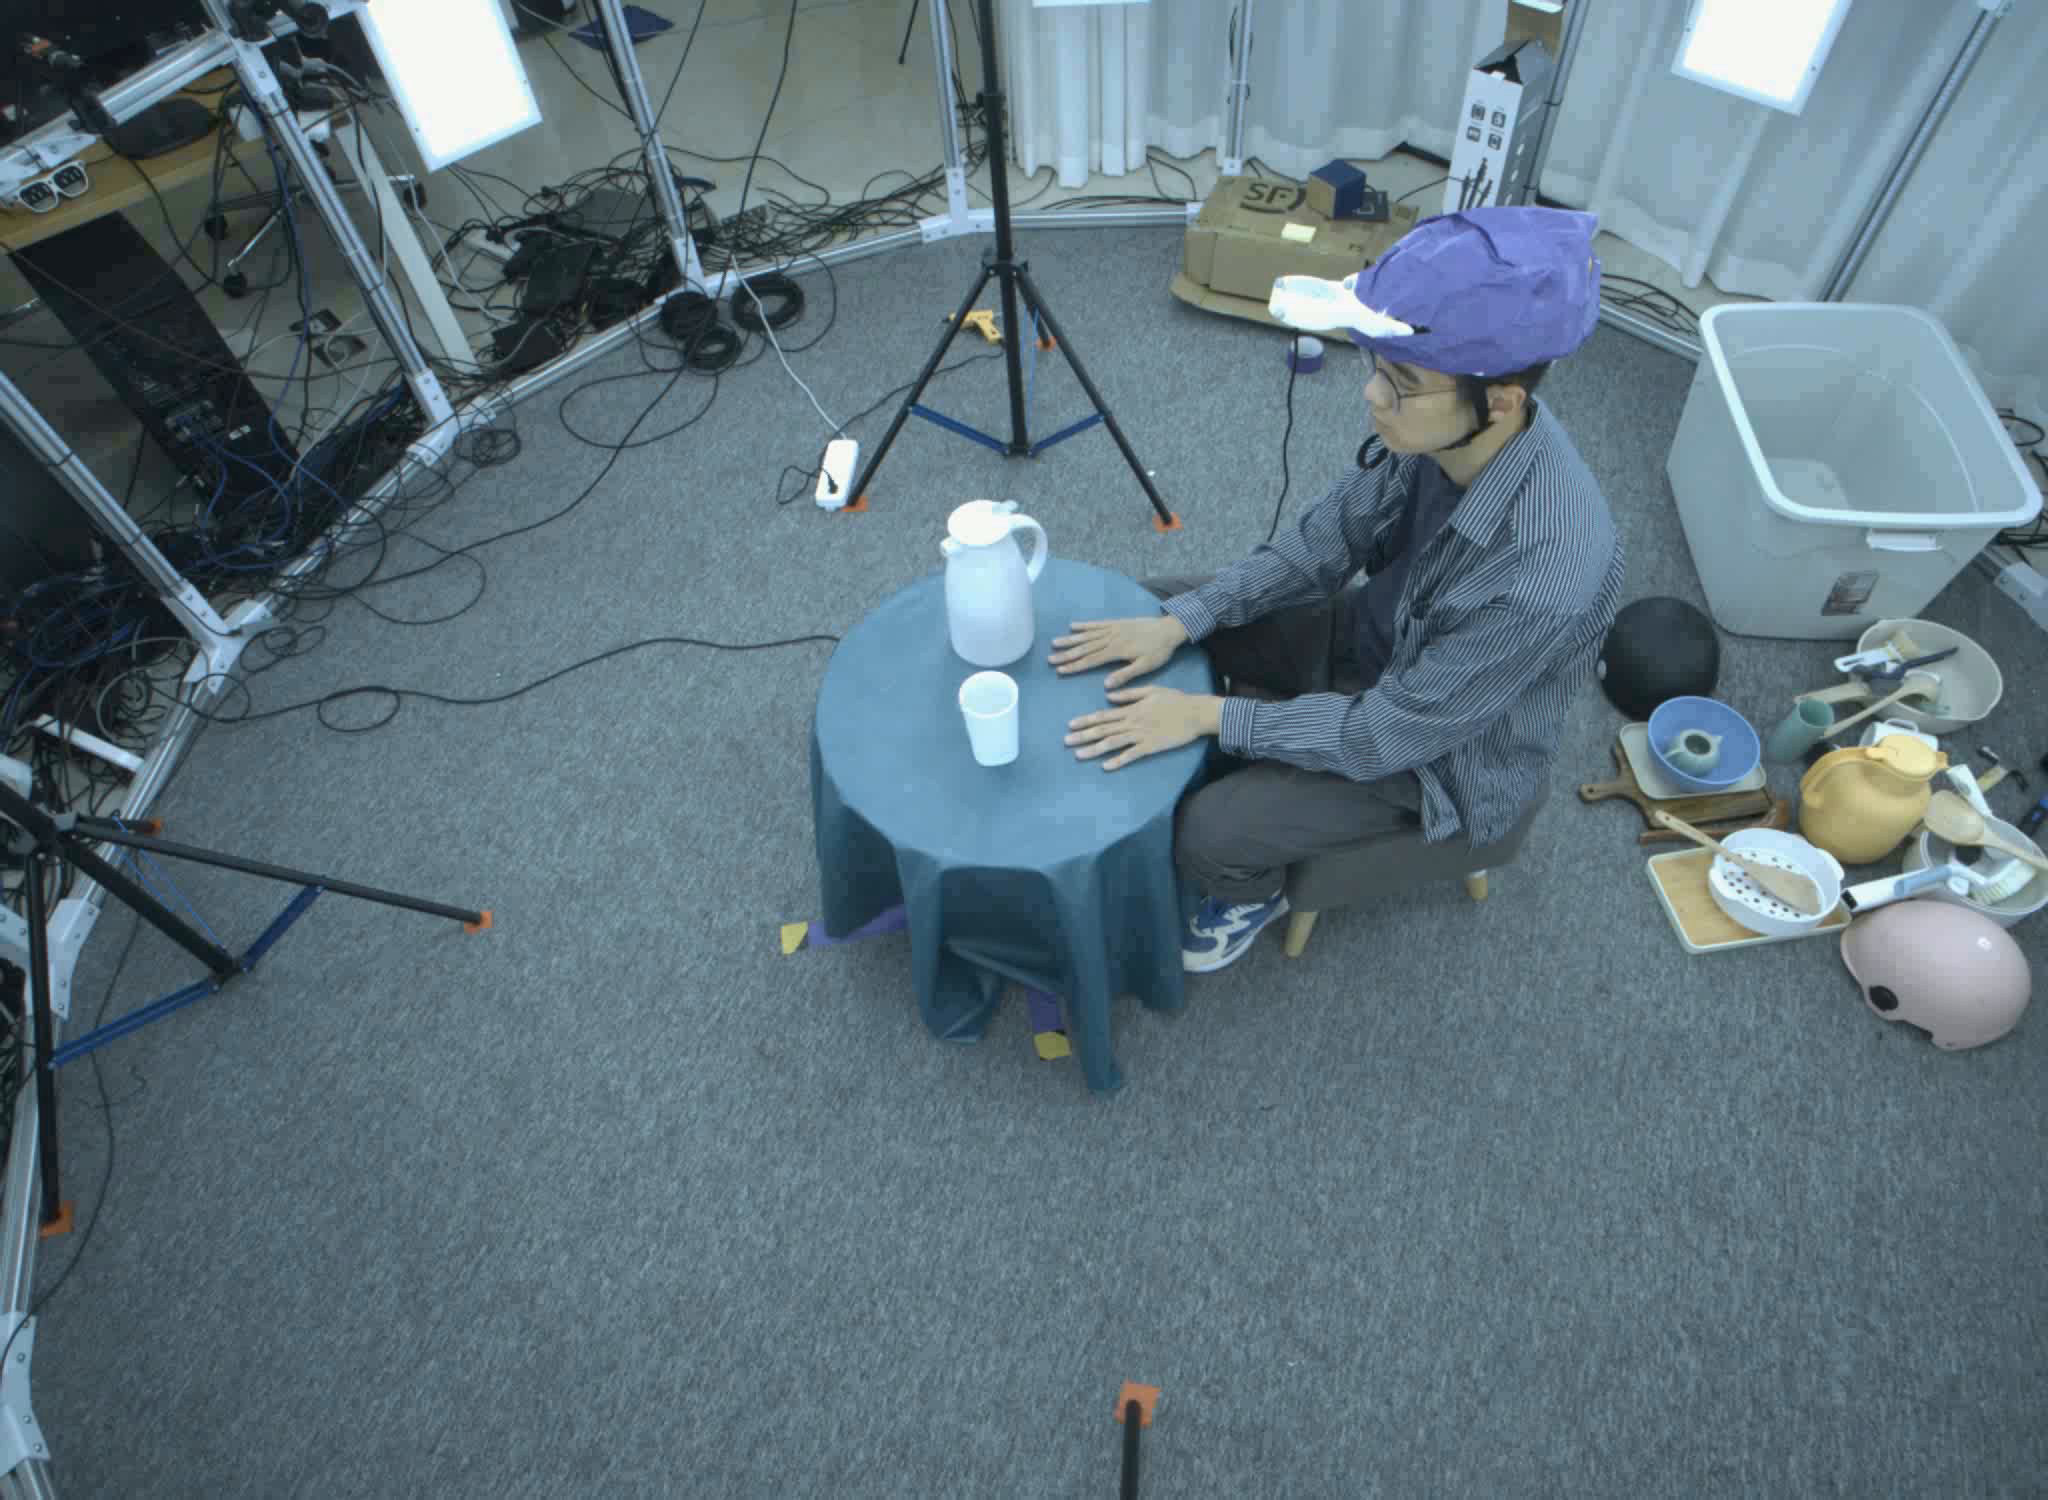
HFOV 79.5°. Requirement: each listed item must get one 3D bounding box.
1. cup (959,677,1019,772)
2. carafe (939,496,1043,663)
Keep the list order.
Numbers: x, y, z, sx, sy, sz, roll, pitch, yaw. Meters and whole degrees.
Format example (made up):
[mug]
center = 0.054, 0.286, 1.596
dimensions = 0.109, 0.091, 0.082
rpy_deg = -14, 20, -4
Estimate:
[cup]
center = -0.046, -0.032, 1.736
dimensions = 0.081, 0.127, 0.081
rpy_deg = -1, 54, 3
[carafe]
center = -0.042, -0.268, 1.824
dimensions = 0.169, 0.252, 0.130
rpy_deg = -36, 58, -18
